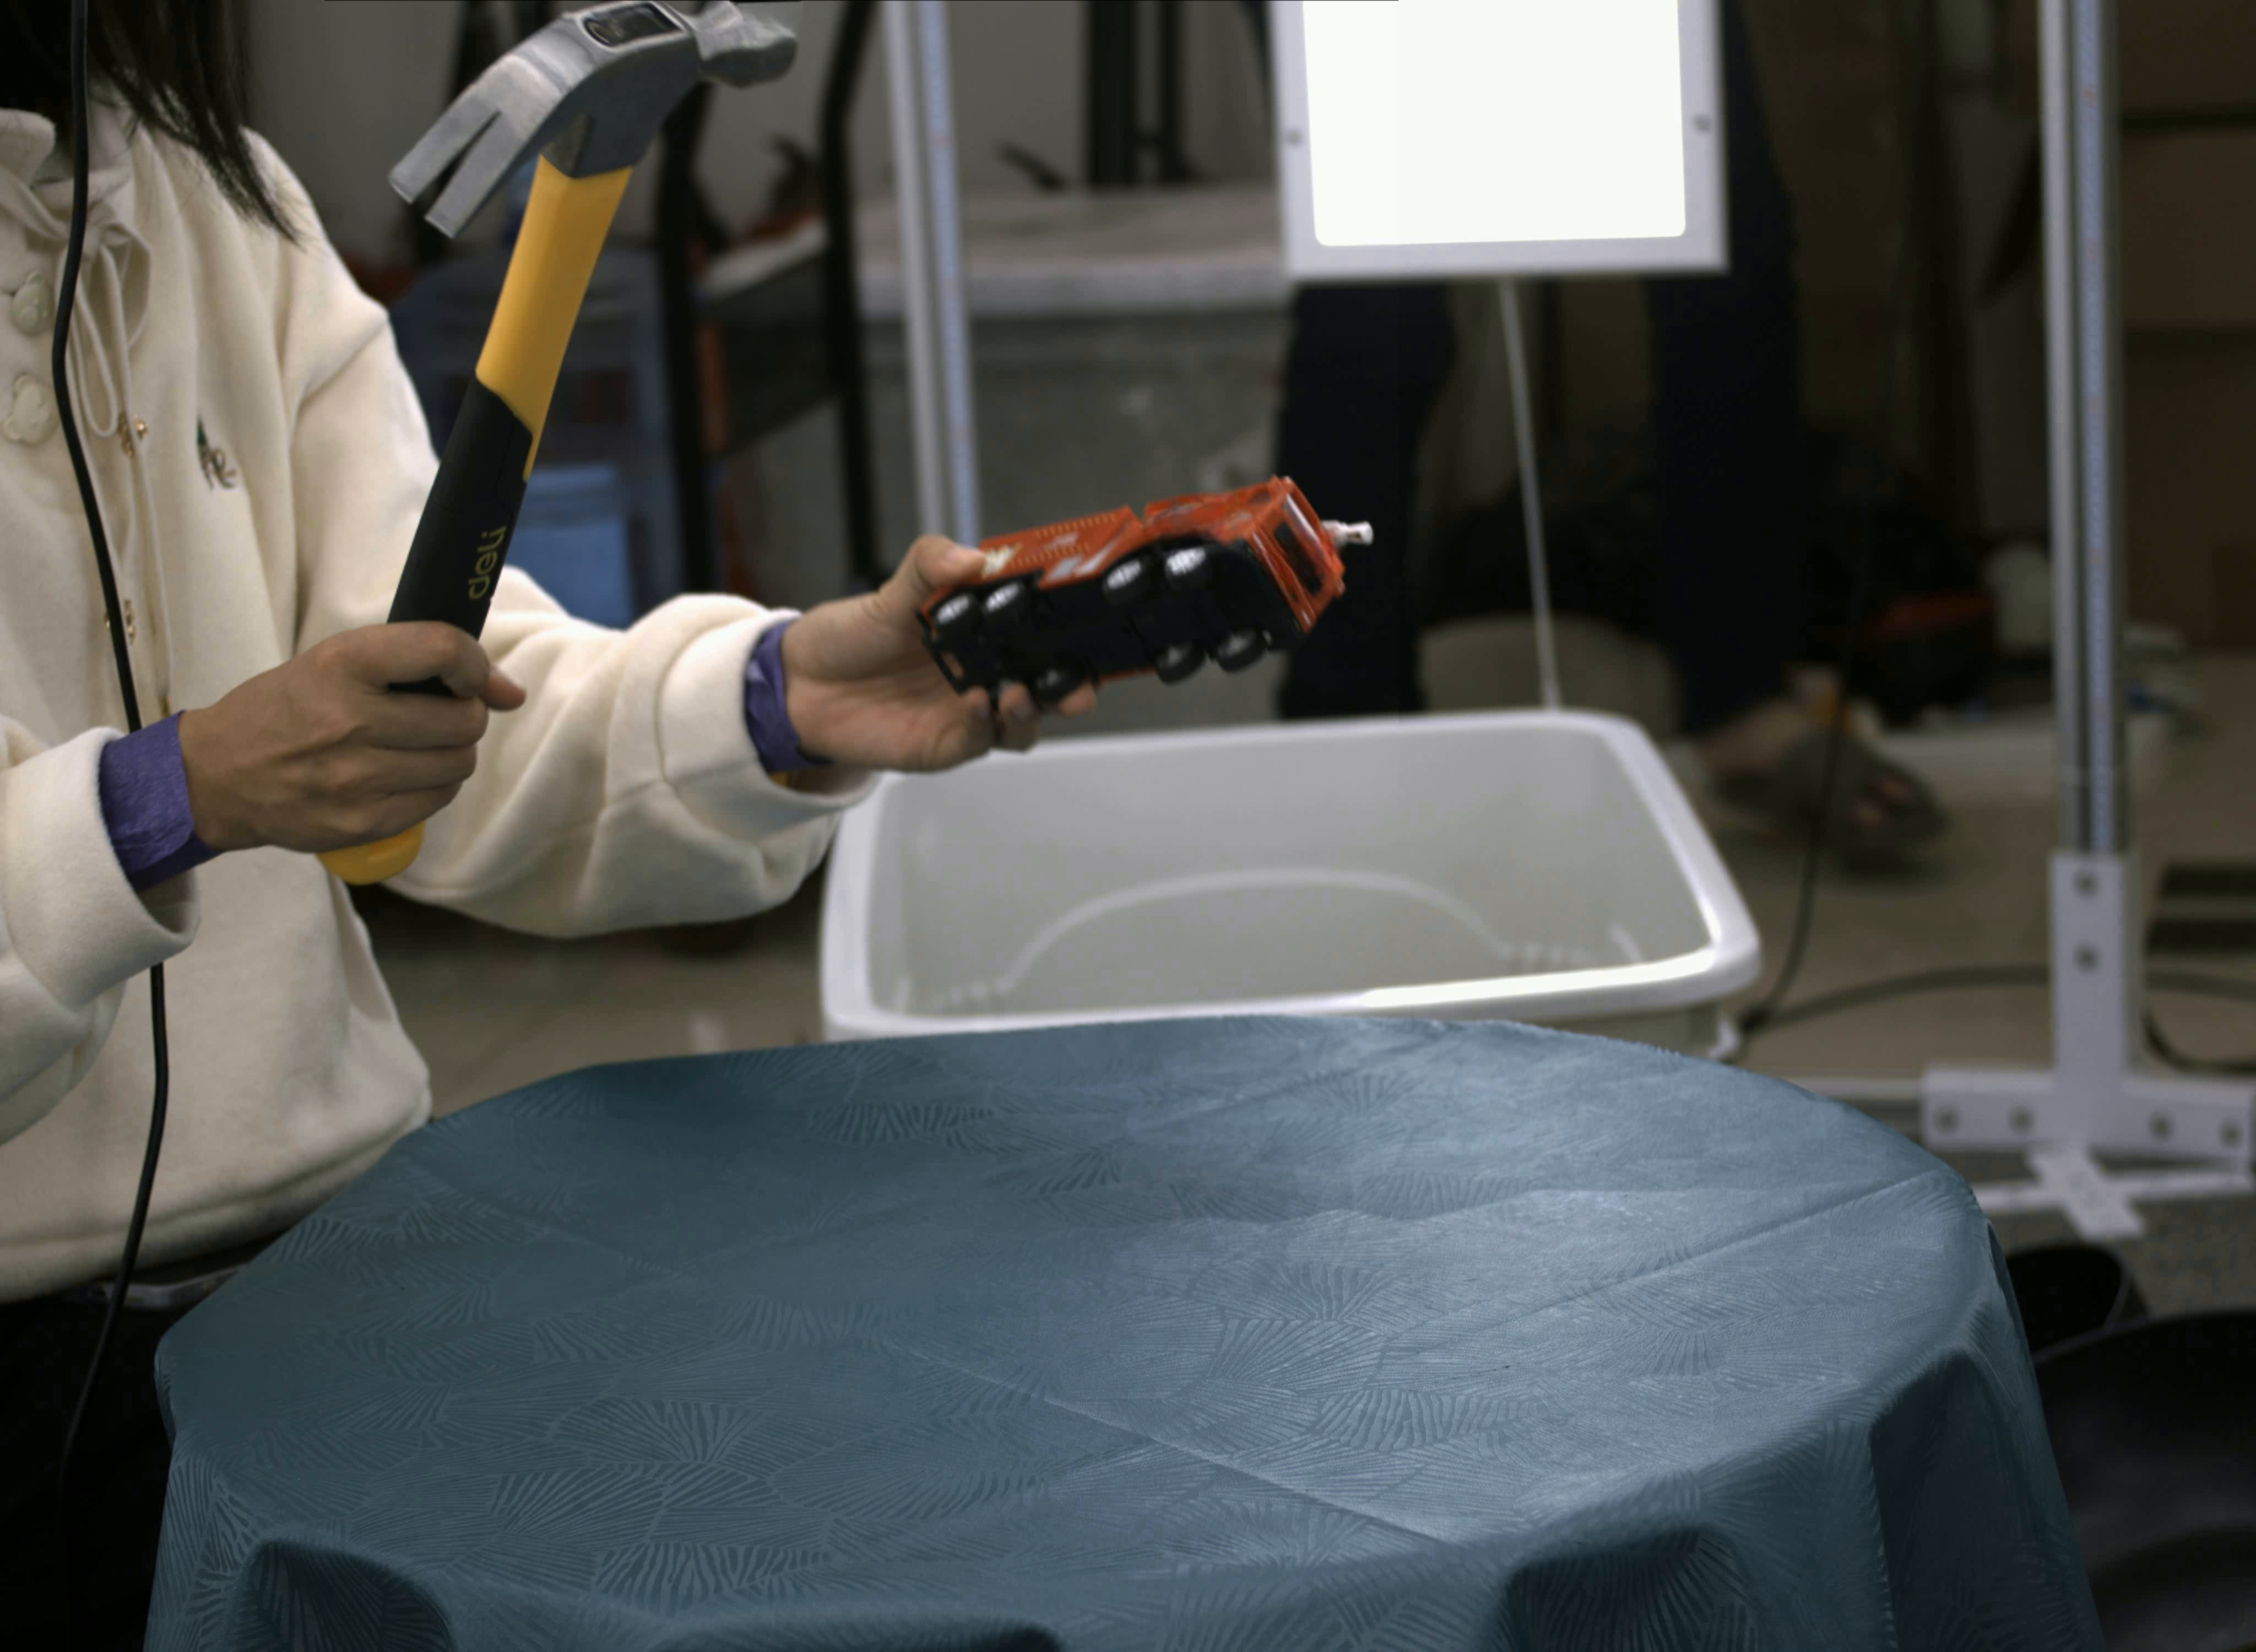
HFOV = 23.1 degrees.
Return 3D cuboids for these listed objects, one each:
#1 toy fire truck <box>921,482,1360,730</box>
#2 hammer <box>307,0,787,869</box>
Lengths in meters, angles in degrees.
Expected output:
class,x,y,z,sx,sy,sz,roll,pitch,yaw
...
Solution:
class,x,y,z,sx,sy,sz,roll,pitch,yaw
toy fire truck,0.003,-0.077,1.895,0.172,0.053,0.069,-10,32,46
hammer,-0.208,-0.120,1.769,0.128,0.343,0.032,-22,56,-43
